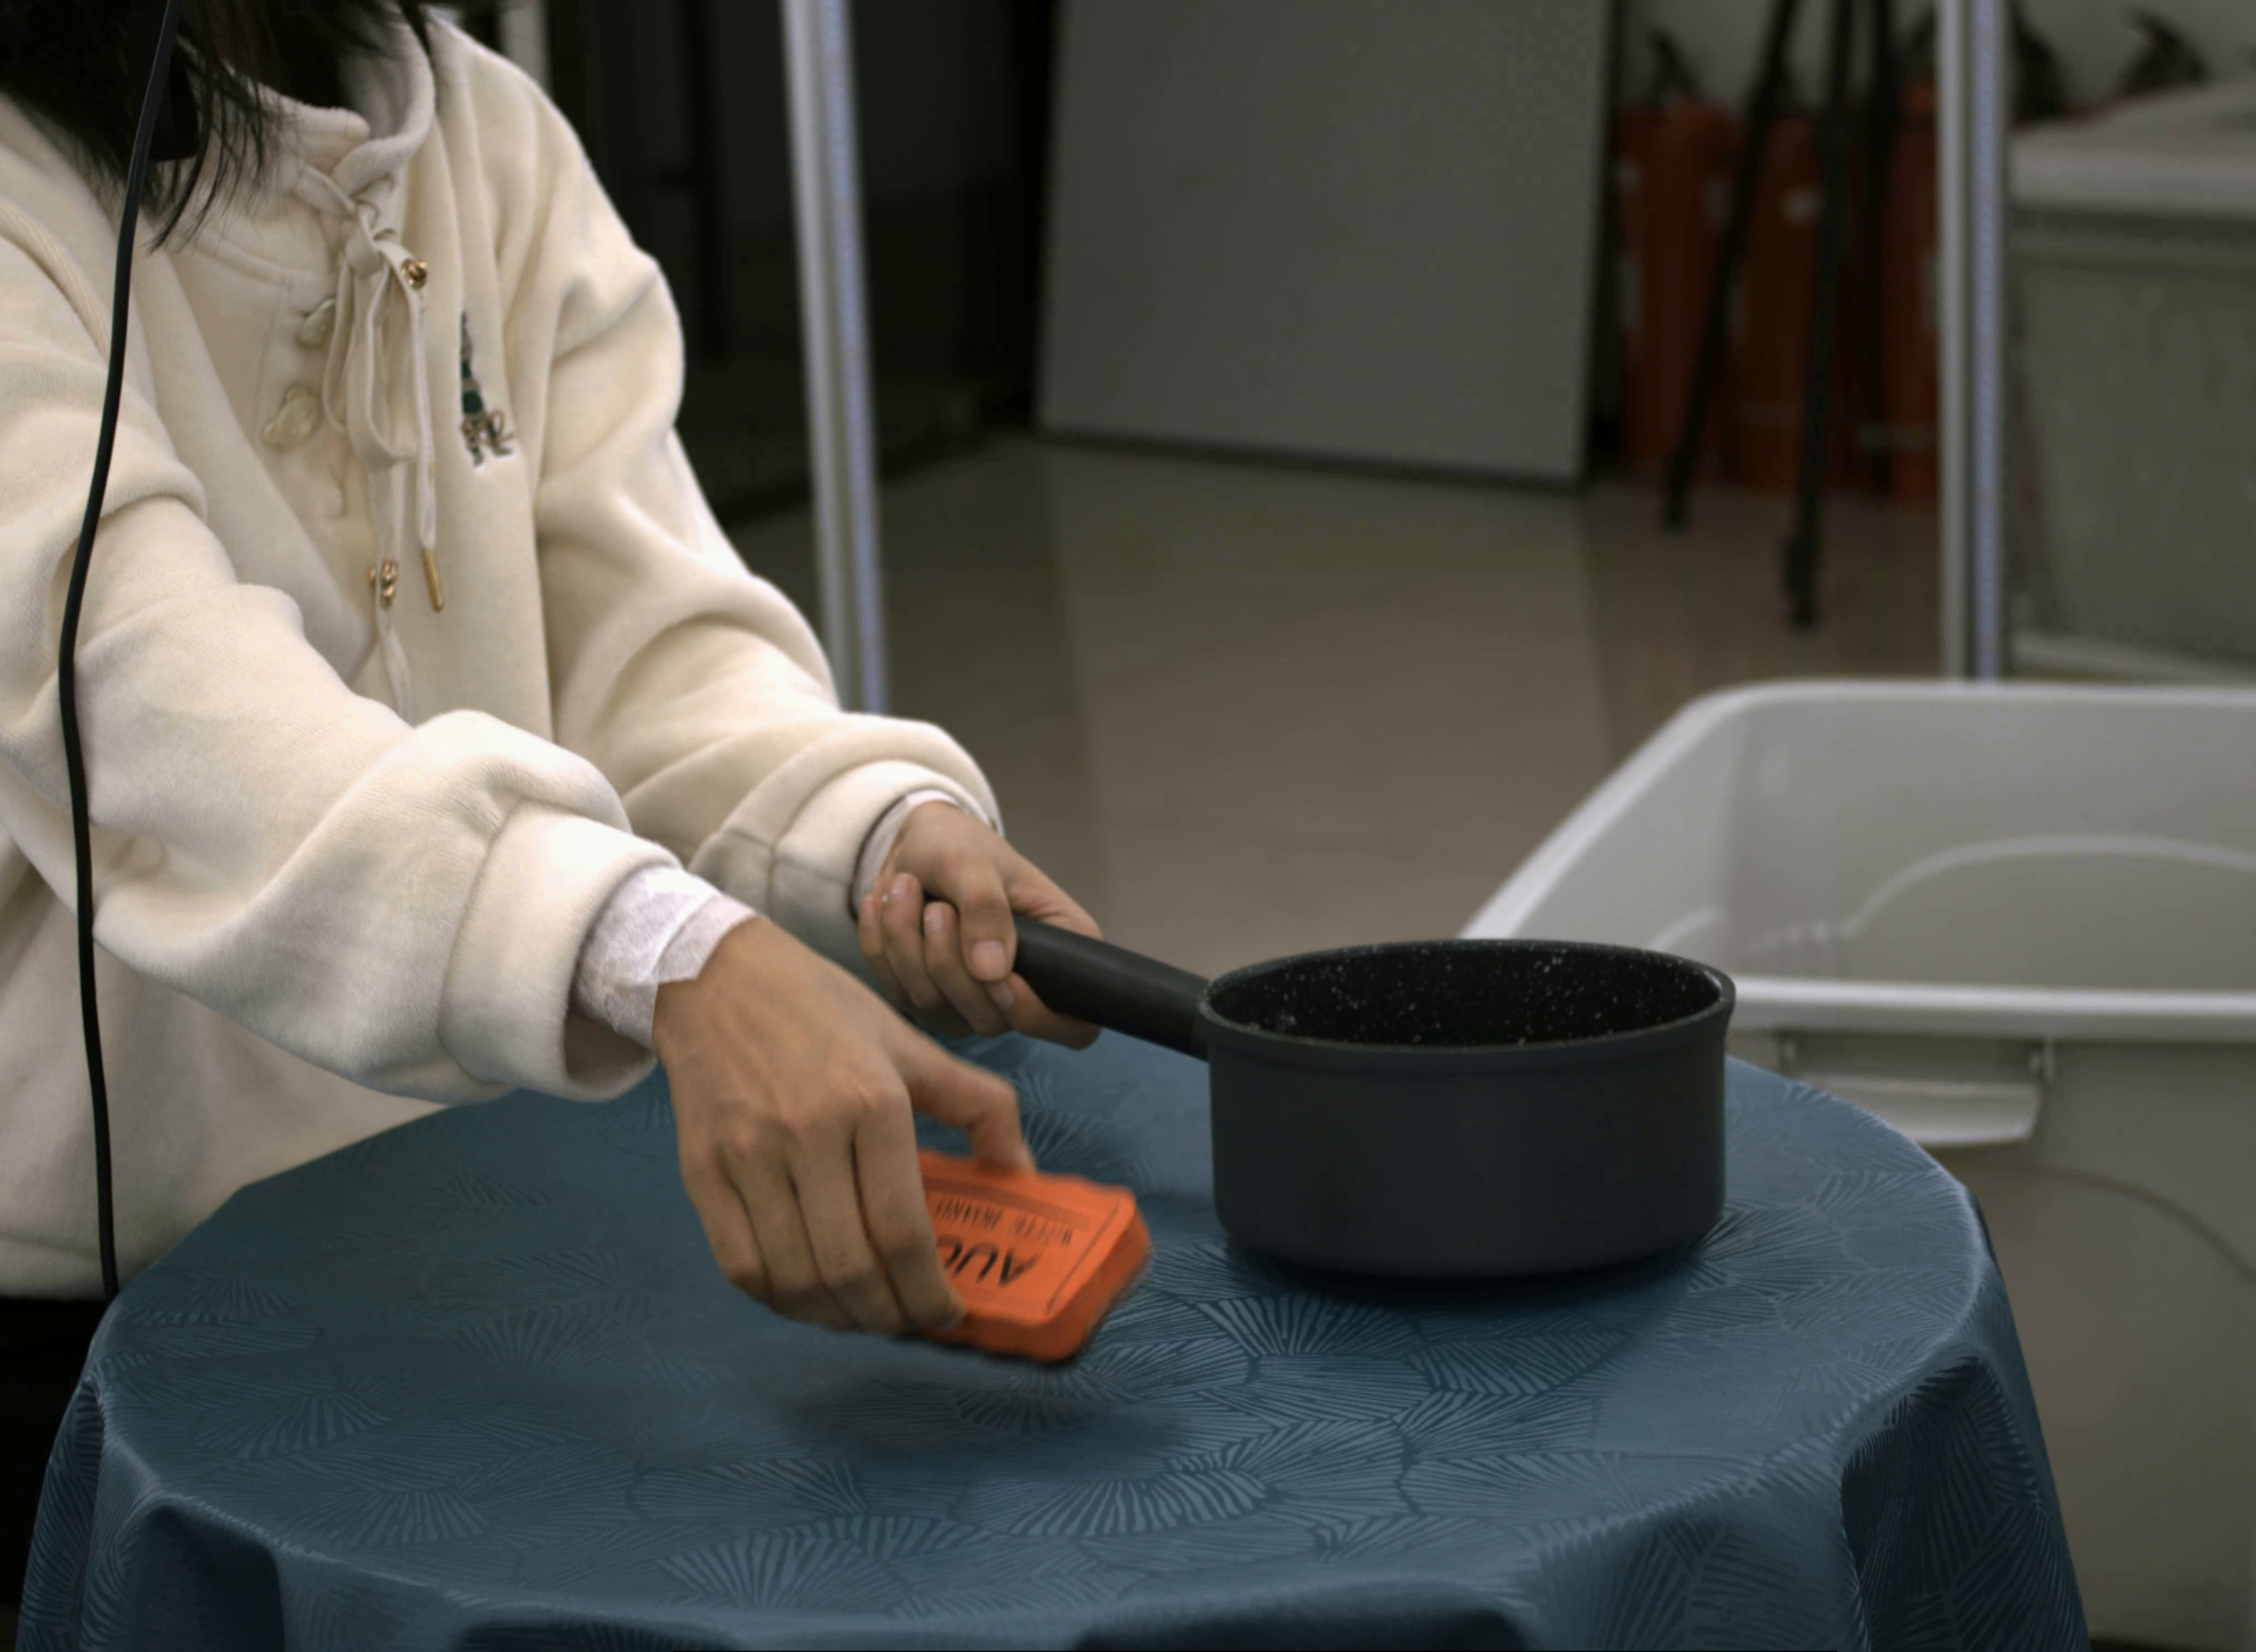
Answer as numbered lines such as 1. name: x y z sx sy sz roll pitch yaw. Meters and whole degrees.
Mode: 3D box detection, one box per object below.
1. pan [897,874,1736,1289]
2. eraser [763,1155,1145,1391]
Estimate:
1. pan: 0.049 0.078 1.747 0.331 0.087 0.168 8 14 42
2. eraser: -0.051 0.130 1.584 0.109 0.023 0.058 9 45 35
